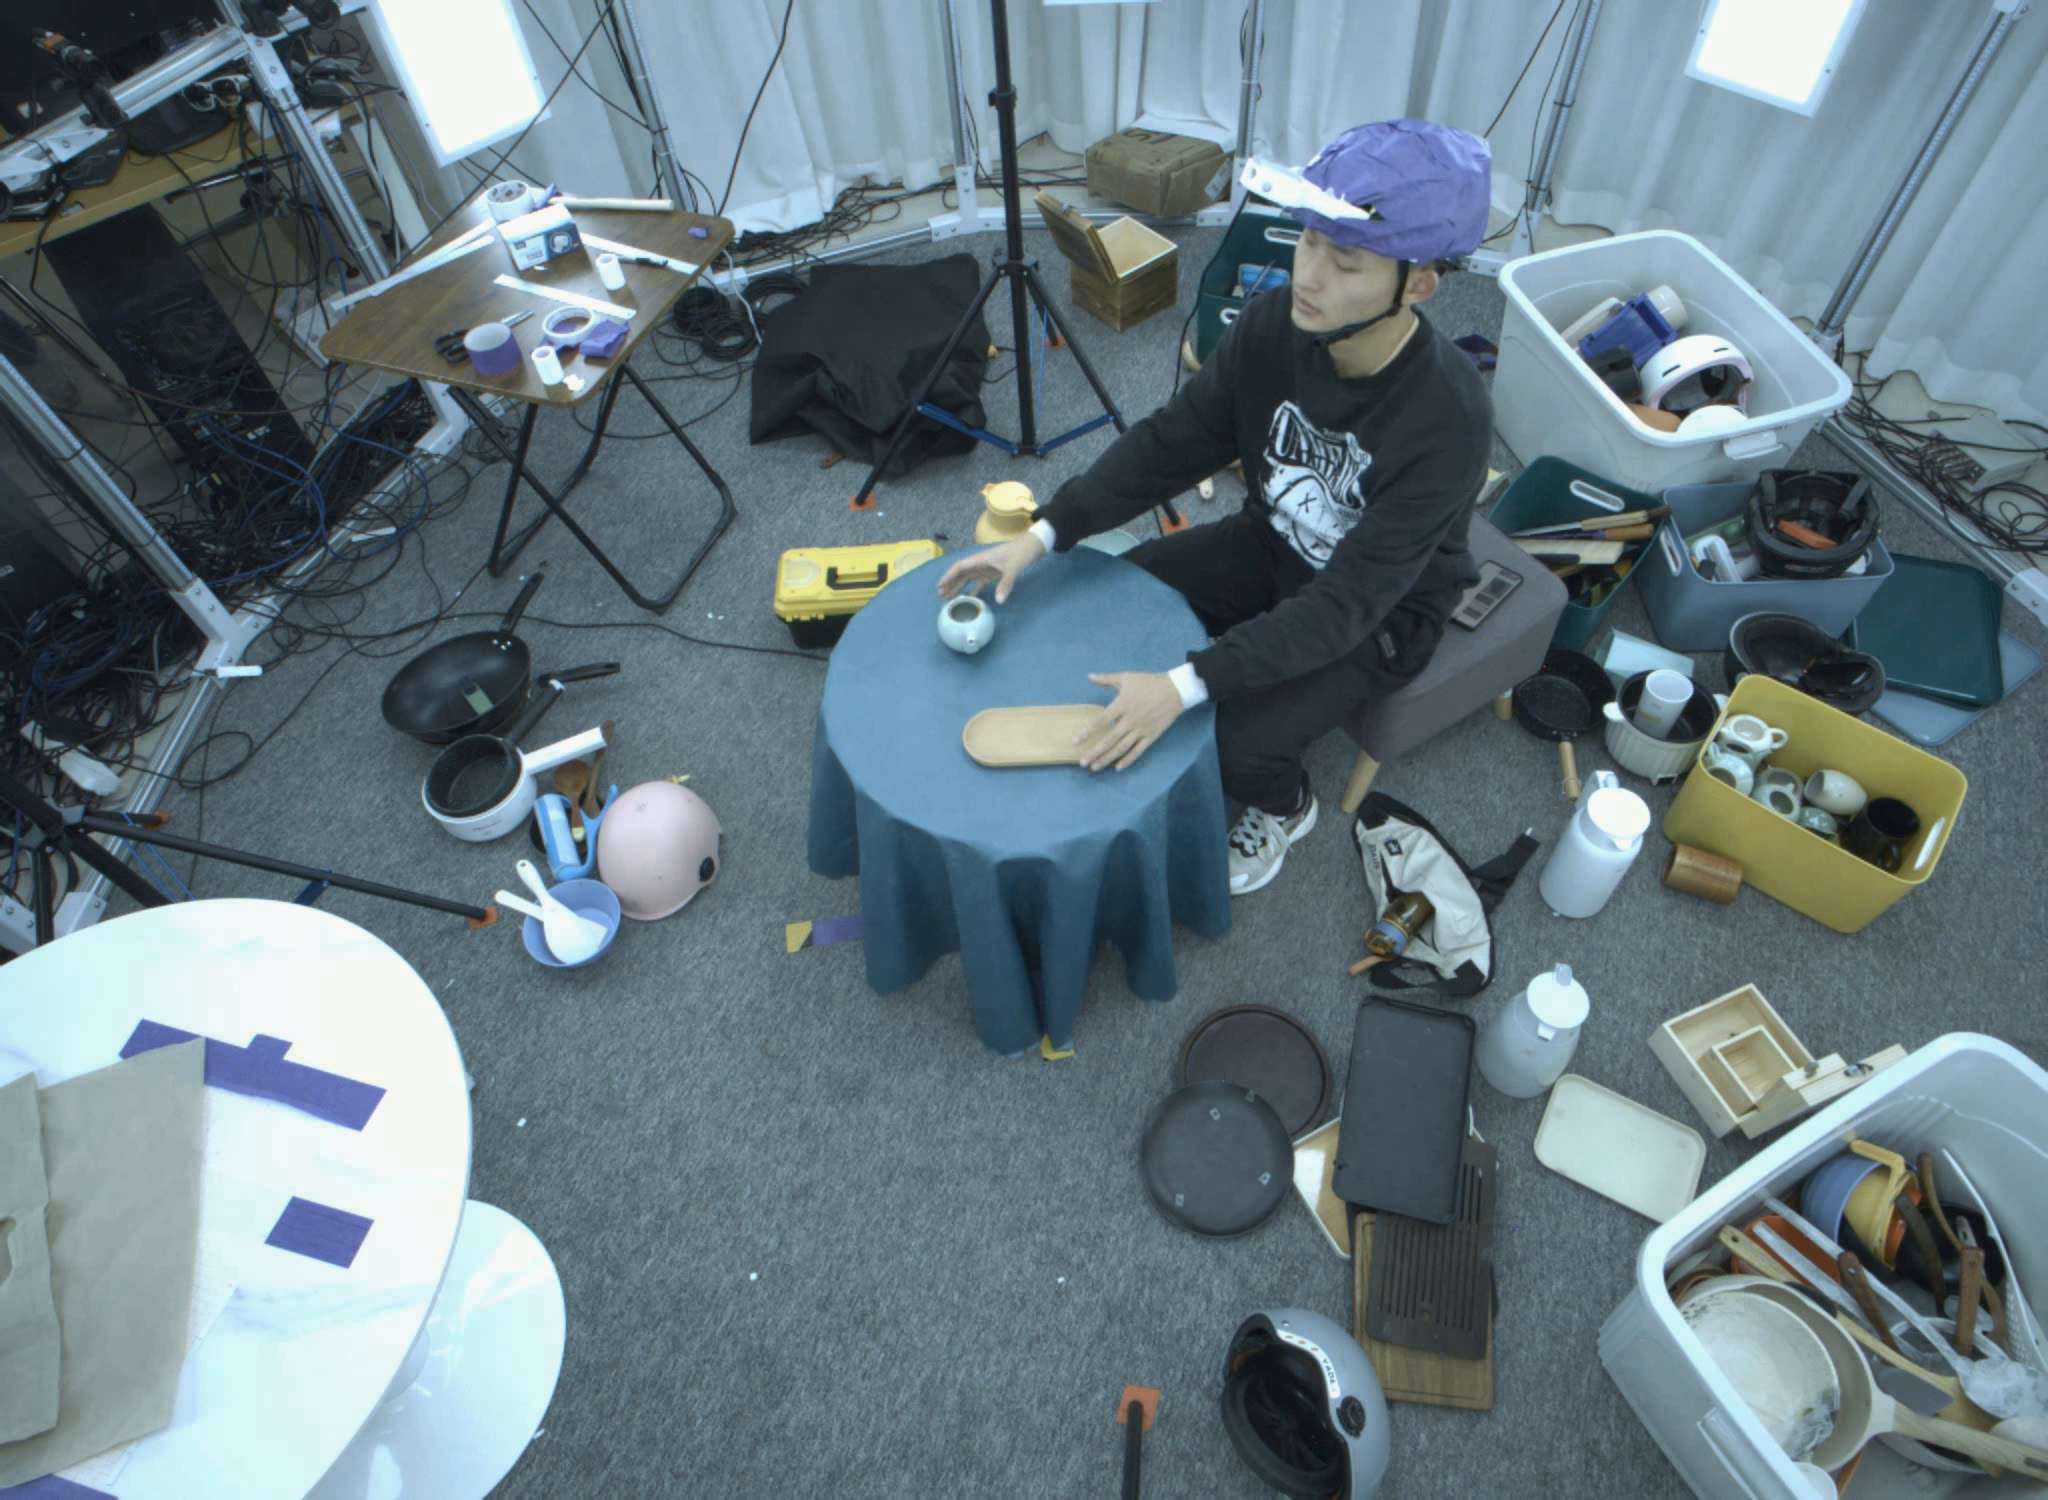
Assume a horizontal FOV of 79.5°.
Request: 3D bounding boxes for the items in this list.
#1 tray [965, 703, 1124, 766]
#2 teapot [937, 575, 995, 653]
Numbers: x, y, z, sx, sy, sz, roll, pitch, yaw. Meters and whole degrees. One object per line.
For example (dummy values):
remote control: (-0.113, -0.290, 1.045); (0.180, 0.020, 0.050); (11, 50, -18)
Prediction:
tray: (0.029, -0.022, 1.788); (0.231, 0.020, 0.100); (-2, 56, -1)
teapot: (-0.090, -0.195, 1.880); (0.088, 0.075, 0.142); (-9, 57, -4)
